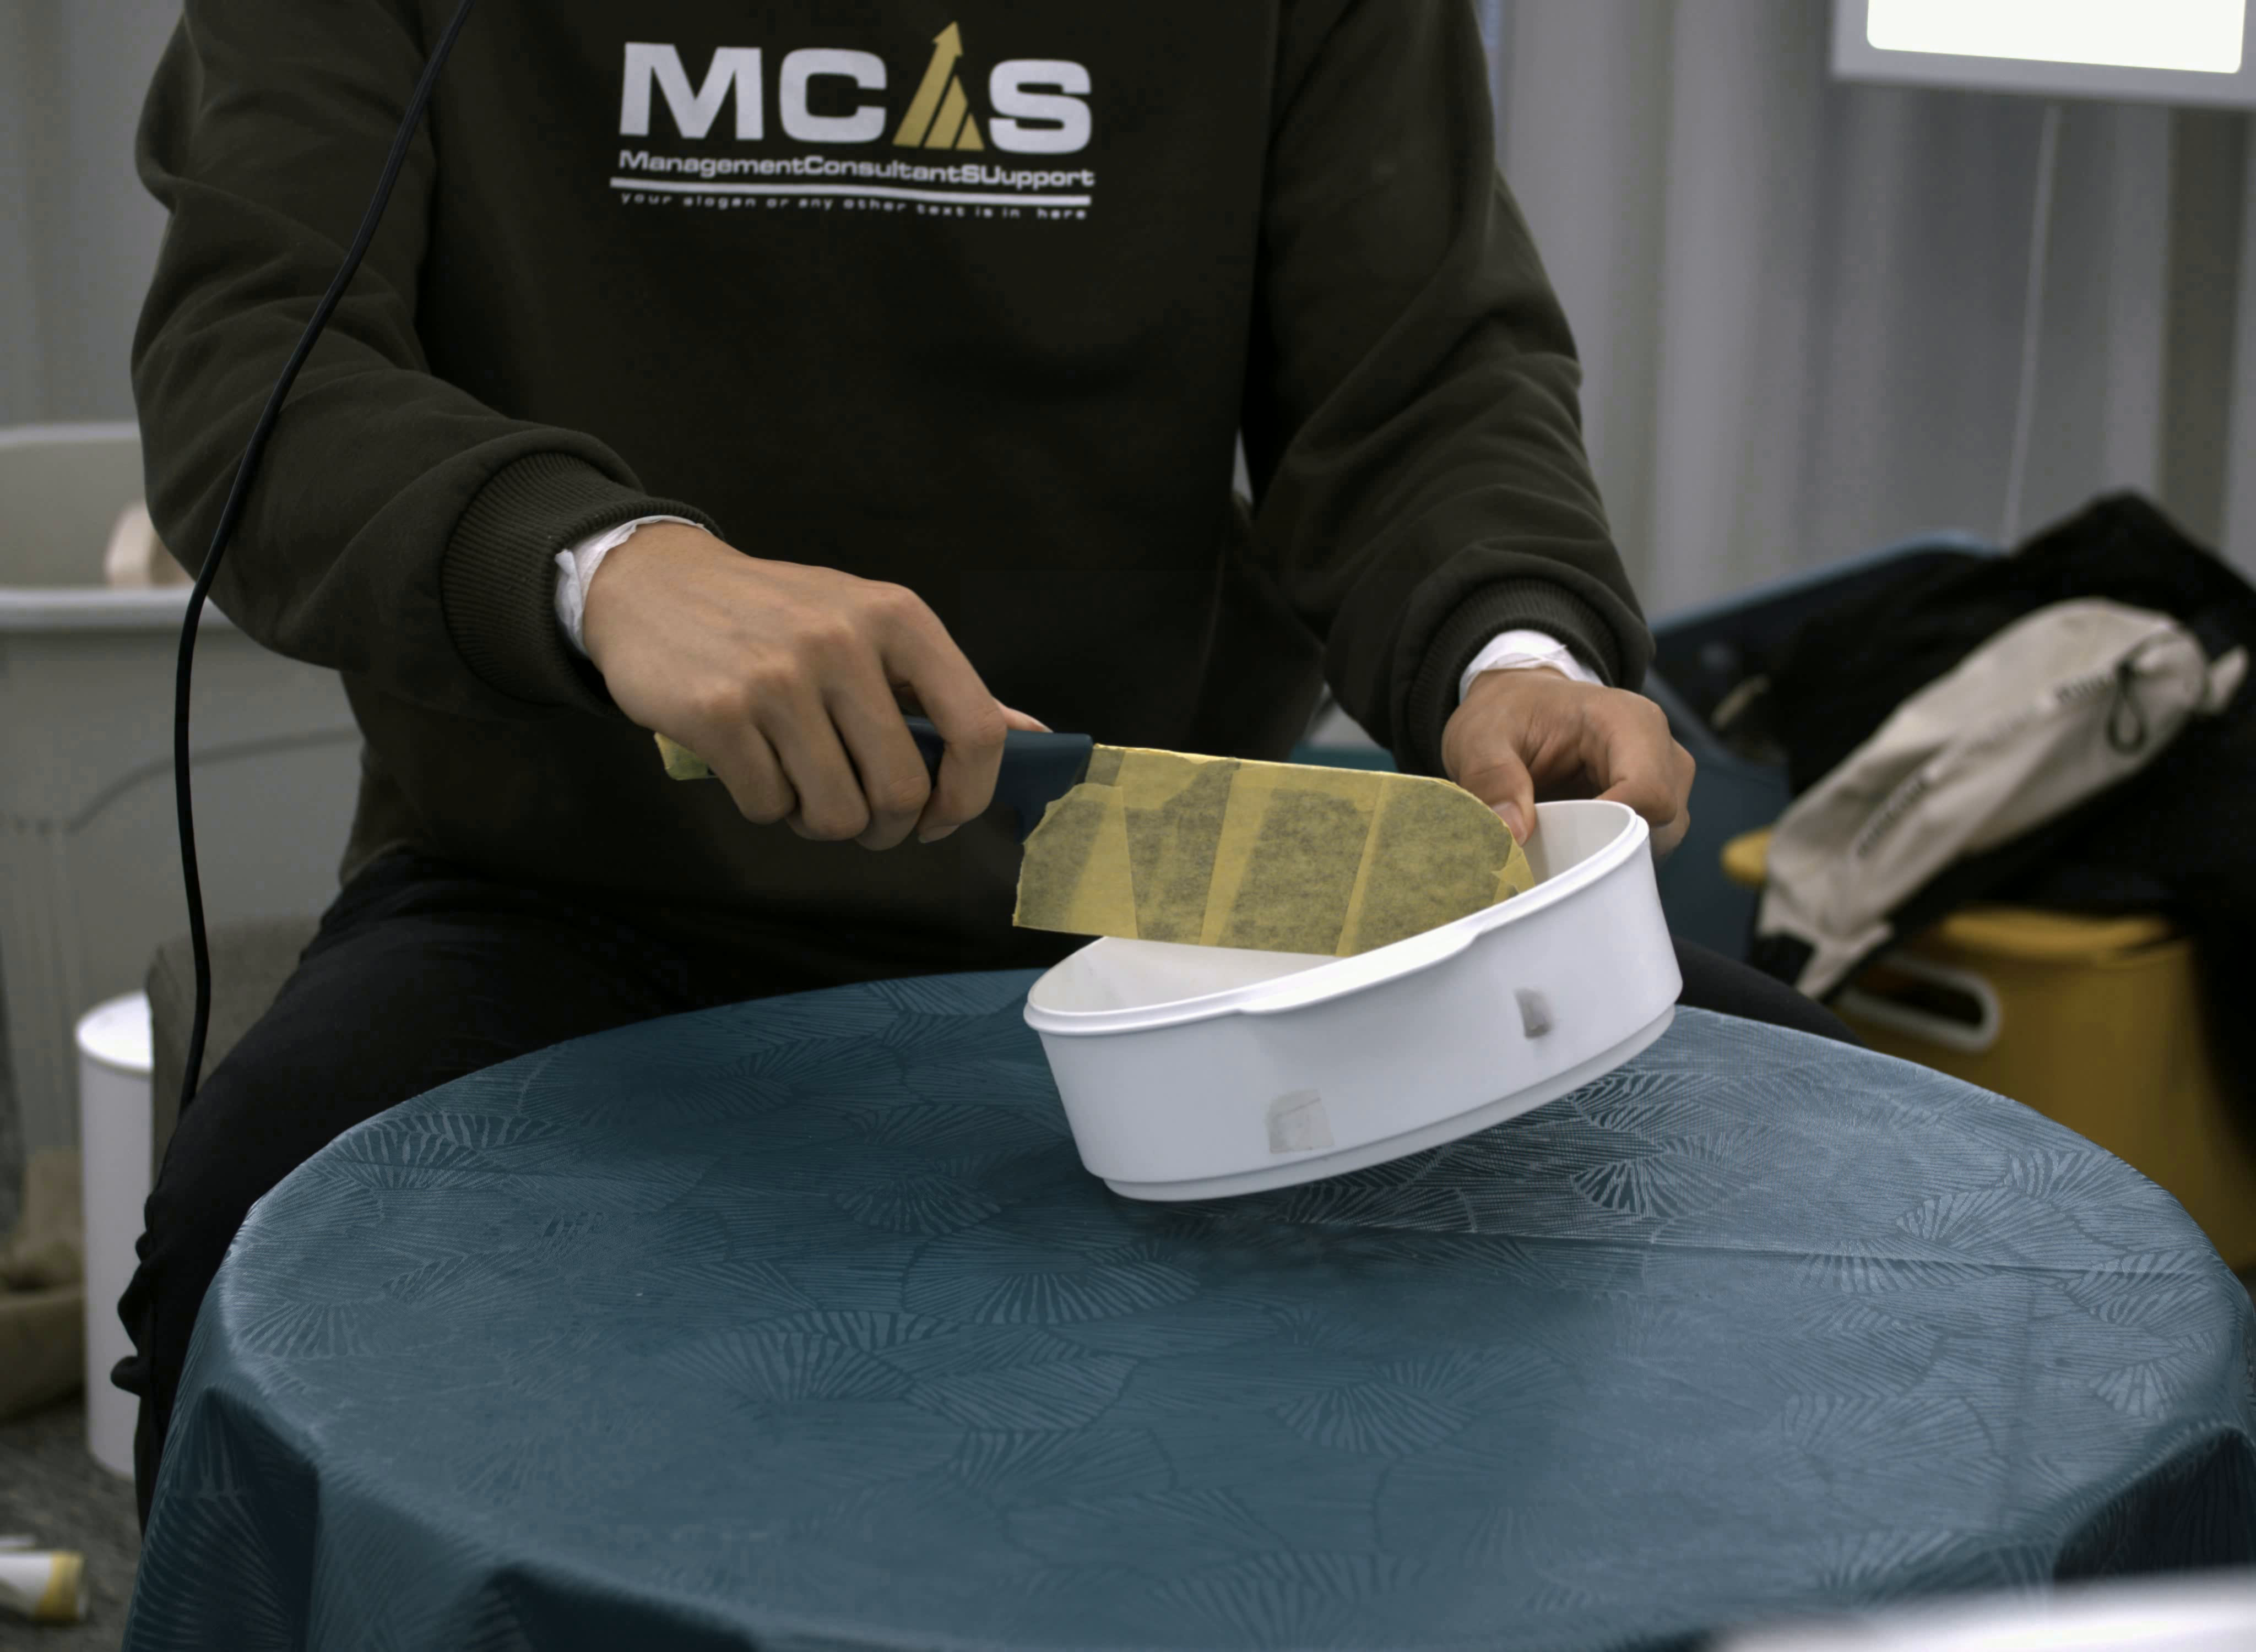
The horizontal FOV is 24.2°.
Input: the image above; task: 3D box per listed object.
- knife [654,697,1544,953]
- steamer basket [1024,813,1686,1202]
[{"bbox_3d":[-0.007,0.001,1.645,0.290,0.082,0.027,9,32,-11],"label":"knife"},{"bbox_3d":[0.072,0.057,1.617,0.201,0.069,0.230,-16,7,1],"label":"steamer basket"}]
